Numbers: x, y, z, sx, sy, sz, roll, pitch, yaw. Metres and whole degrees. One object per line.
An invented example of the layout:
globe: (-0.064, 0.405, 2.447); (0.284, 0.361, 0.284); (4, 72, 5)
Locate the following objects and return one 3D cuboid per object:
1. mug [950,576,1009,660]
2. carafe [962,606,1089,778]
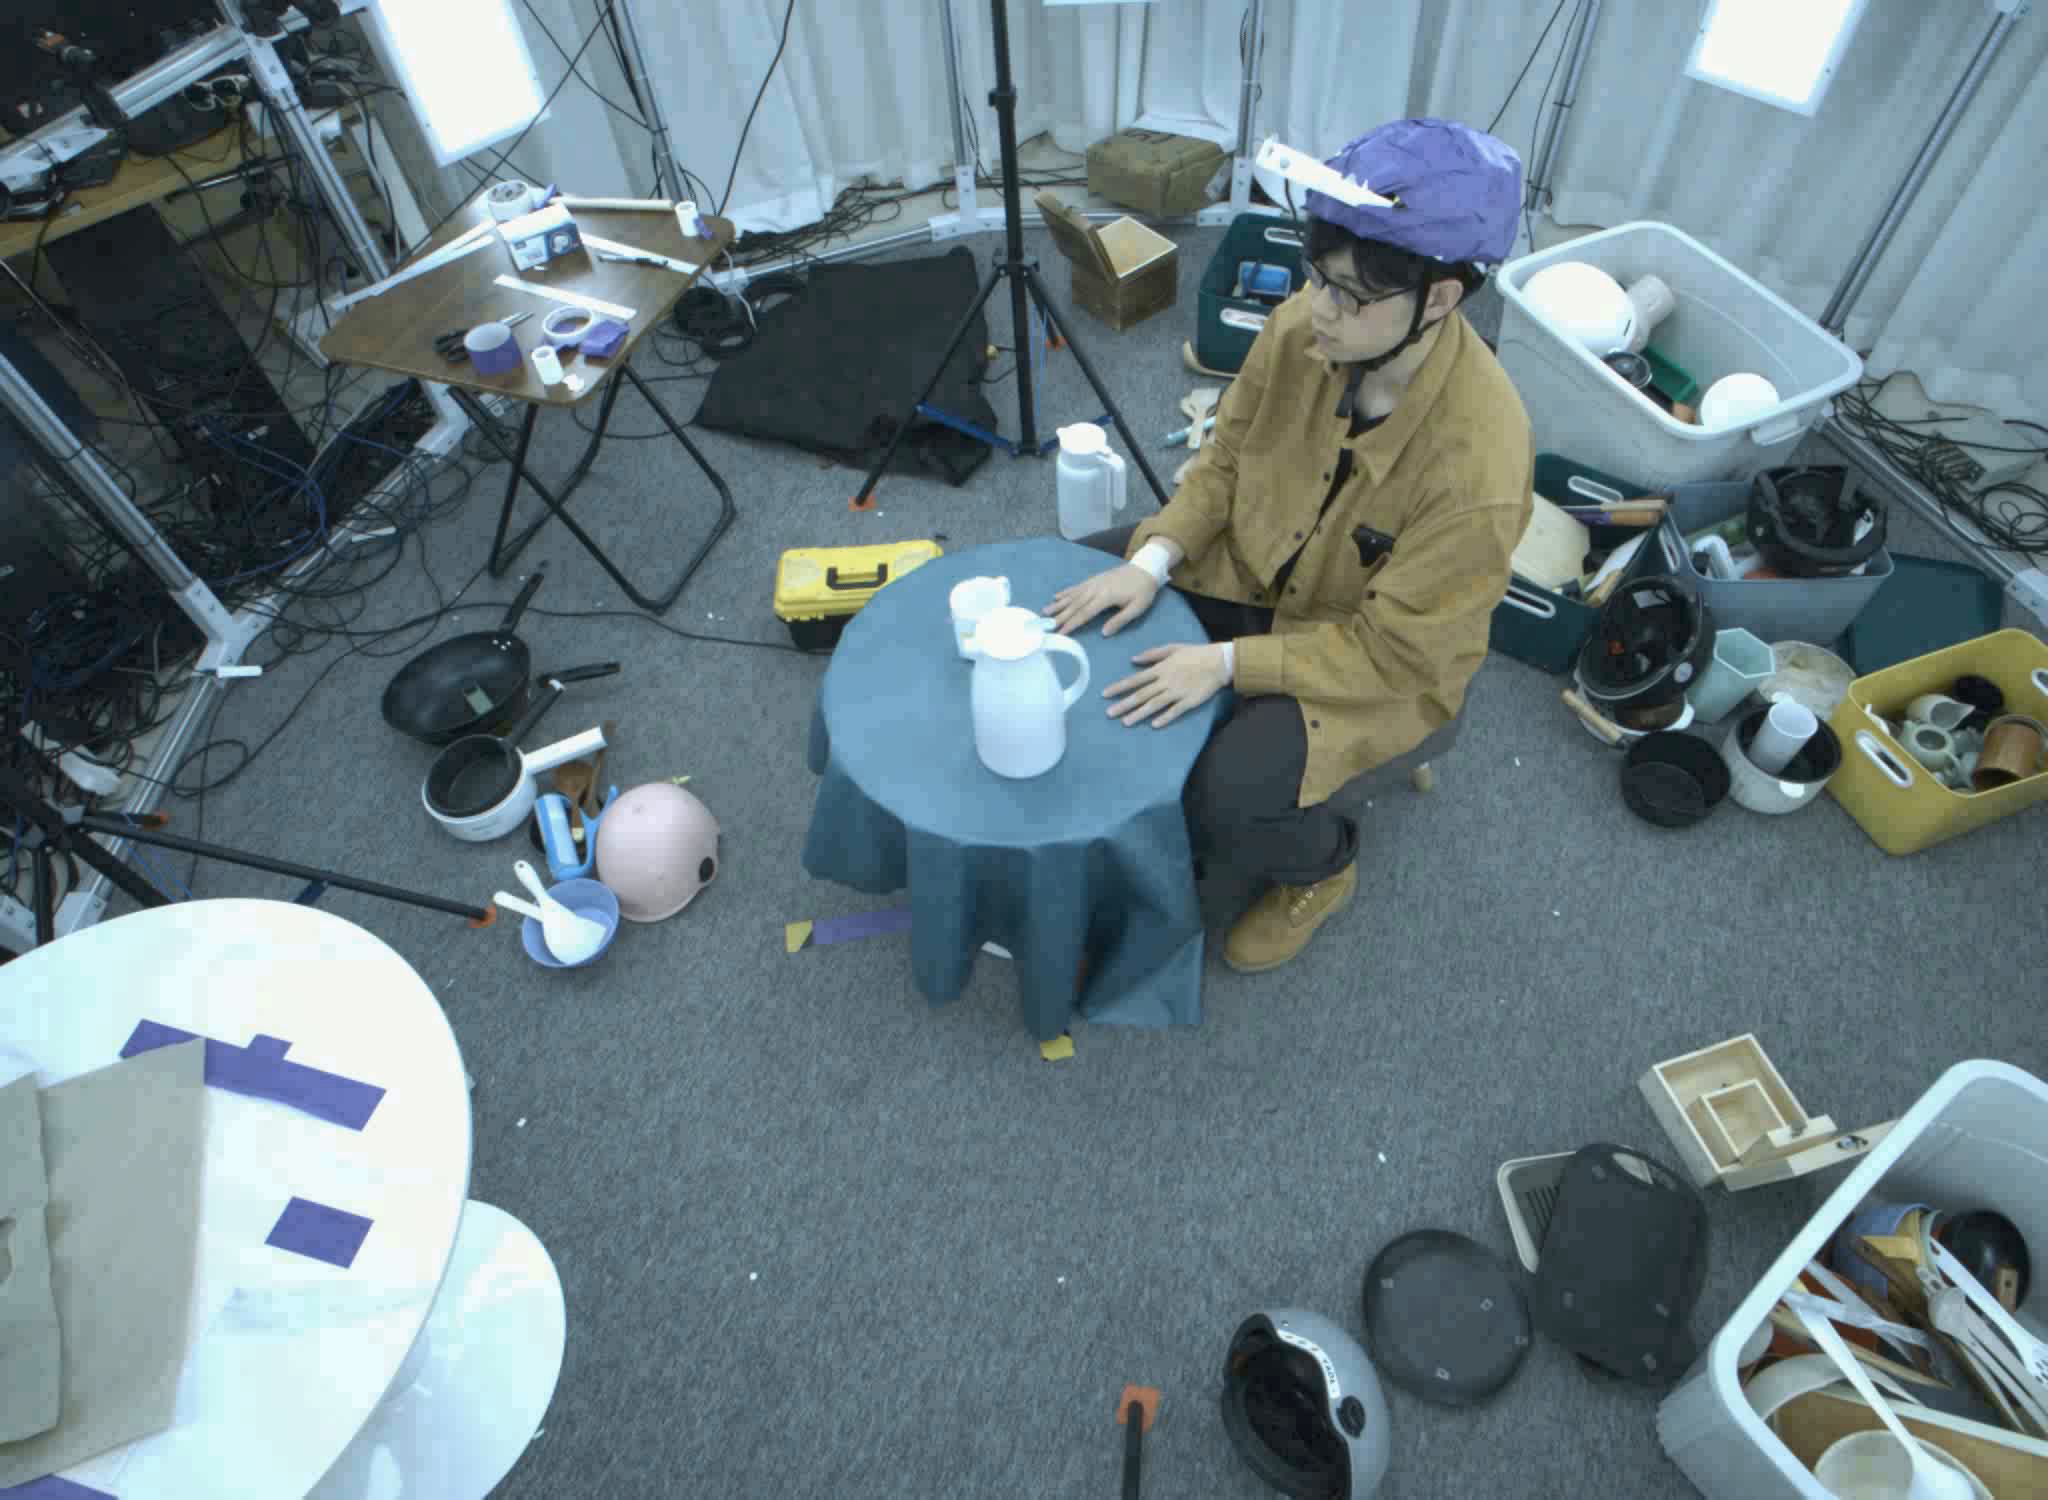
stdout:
mug: (-0.059, -0.209, 1.872); (0.084, 0.103, 0.118); (24, 58, 18)
carafe: (0.006, -0.089, 1.693); (0.168, 0.251, 0.130); (-9, 53, -3)
